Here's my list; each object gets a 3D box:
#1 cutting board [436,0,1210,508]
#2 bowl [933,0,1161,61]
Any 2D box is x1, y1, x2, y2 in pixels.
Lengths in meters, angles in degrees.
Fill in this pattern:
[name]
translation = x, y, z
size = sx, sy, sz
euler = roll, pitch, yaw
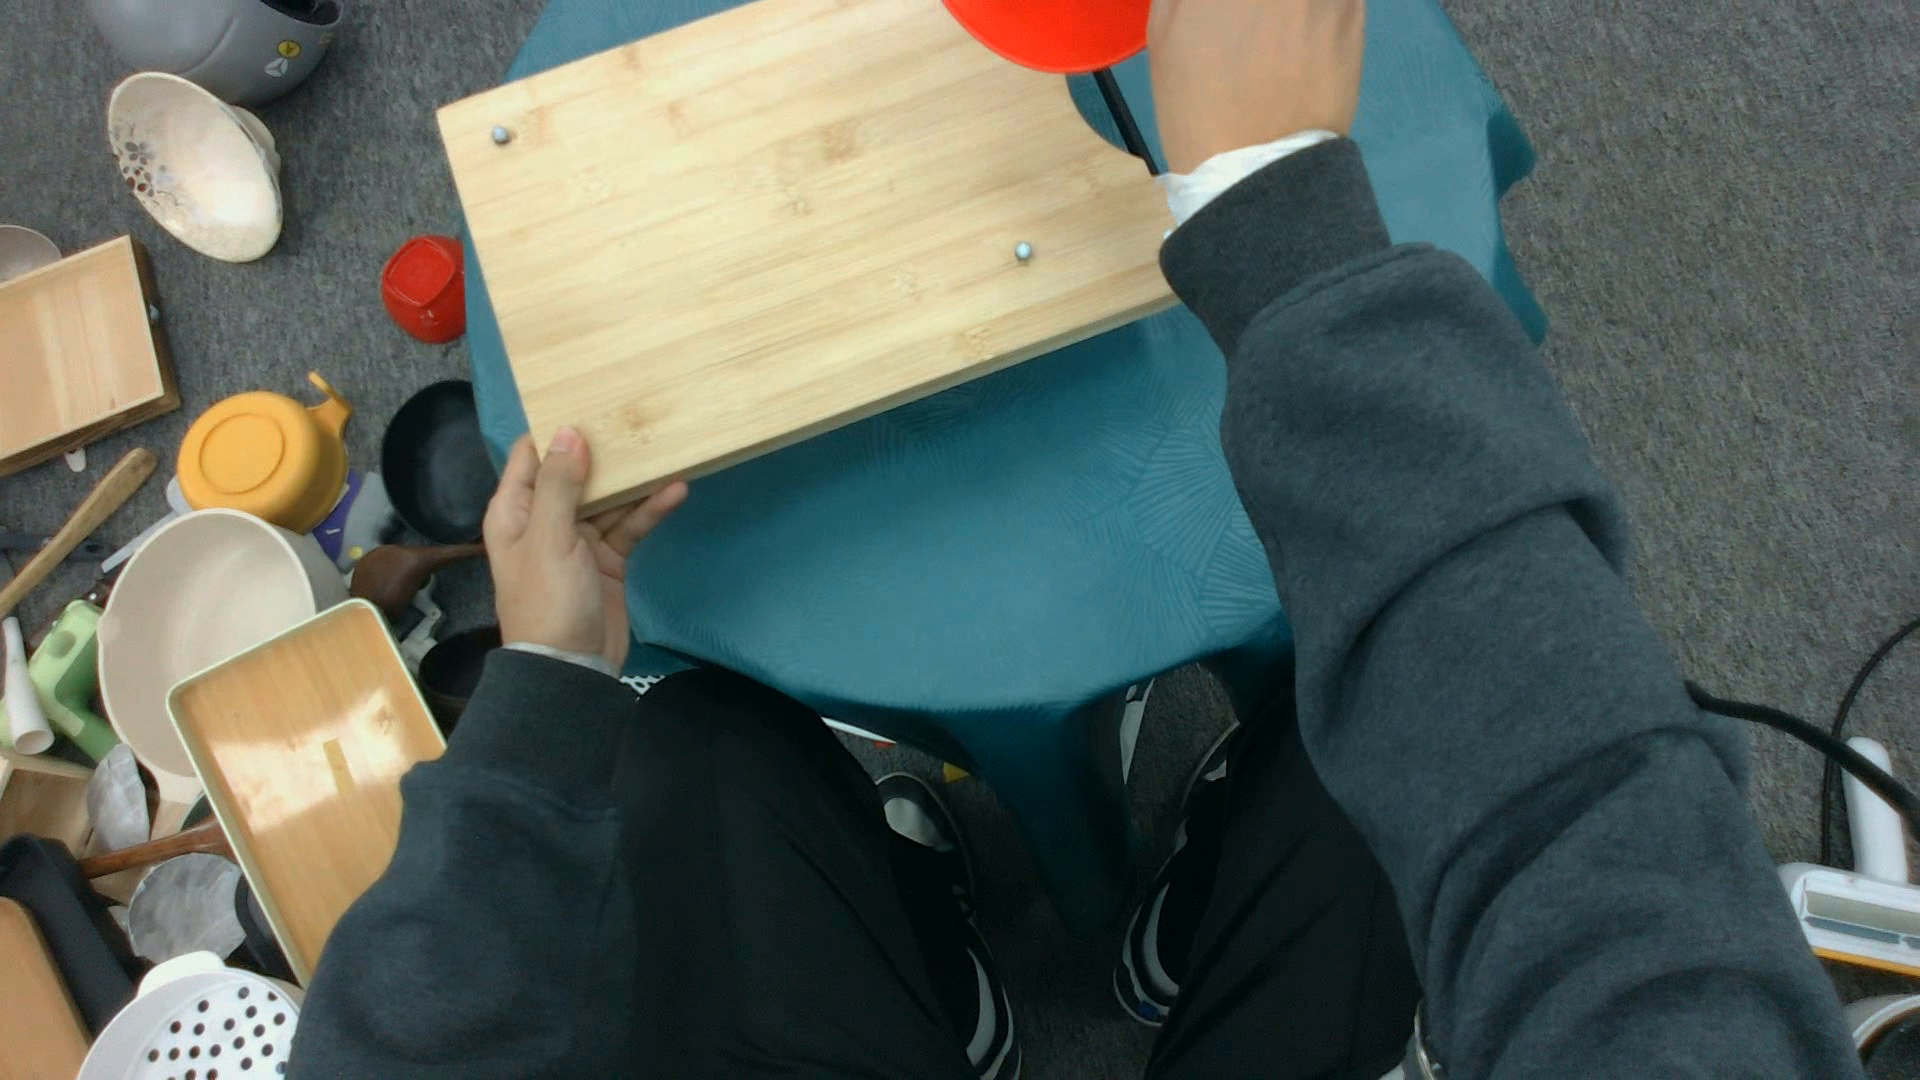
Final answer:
[cutting board]
translation = -0.079, -0.183, 0.714
size = 0.349, 0.023, 0.251
euler = -21, 74, -5
[bowl]
translation = 0.053, -0.285, 0.575
size = 0.105, 0.147, 0.148
euler = -33, 72, -36
